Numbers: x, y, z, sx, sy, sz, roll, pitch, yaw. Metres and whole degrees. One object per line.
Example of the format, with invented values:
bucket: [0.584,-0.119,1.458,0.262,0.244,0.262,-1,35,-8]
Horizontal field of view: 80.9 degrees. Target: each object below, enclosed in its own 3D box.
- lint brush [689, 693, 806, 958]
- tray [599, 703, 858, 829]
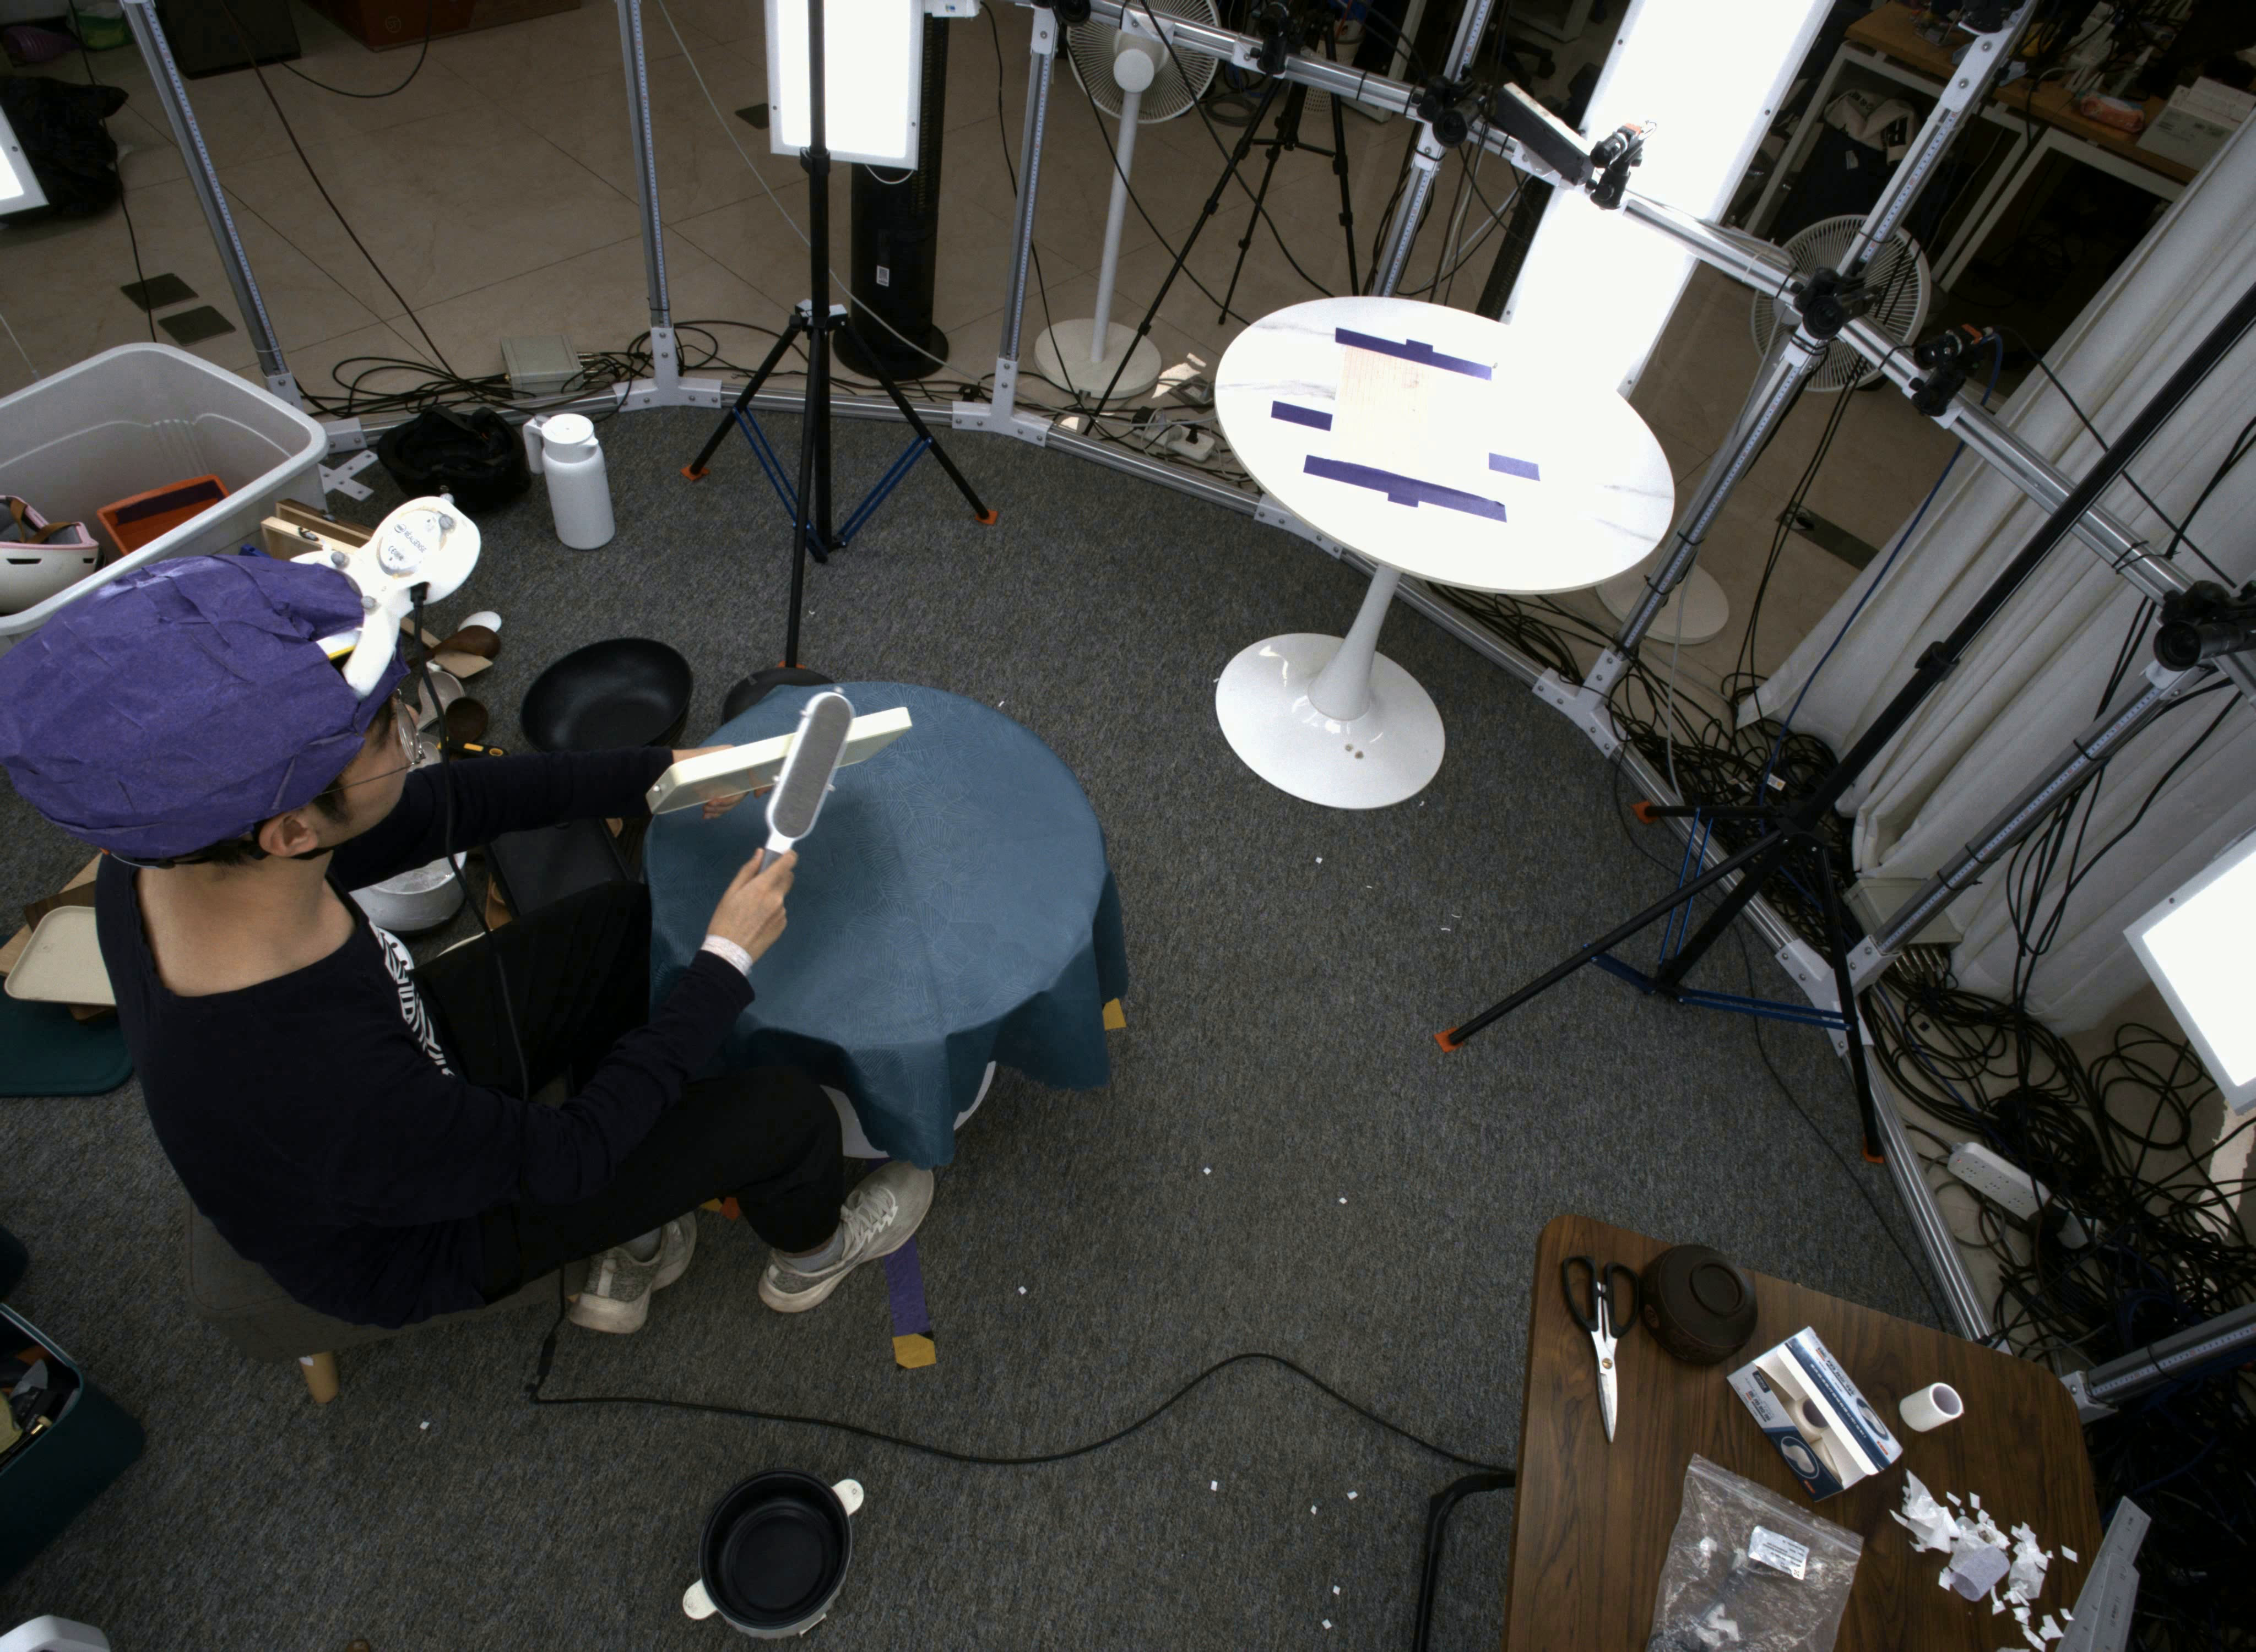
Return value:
lint brush: [-0.434,-0.003,1.459,0.062,0.020,0.310,27,77,-44]
tray: [-0.488,-0.073,1.570,0.302,0.188,0.027,-22,88,-33]
